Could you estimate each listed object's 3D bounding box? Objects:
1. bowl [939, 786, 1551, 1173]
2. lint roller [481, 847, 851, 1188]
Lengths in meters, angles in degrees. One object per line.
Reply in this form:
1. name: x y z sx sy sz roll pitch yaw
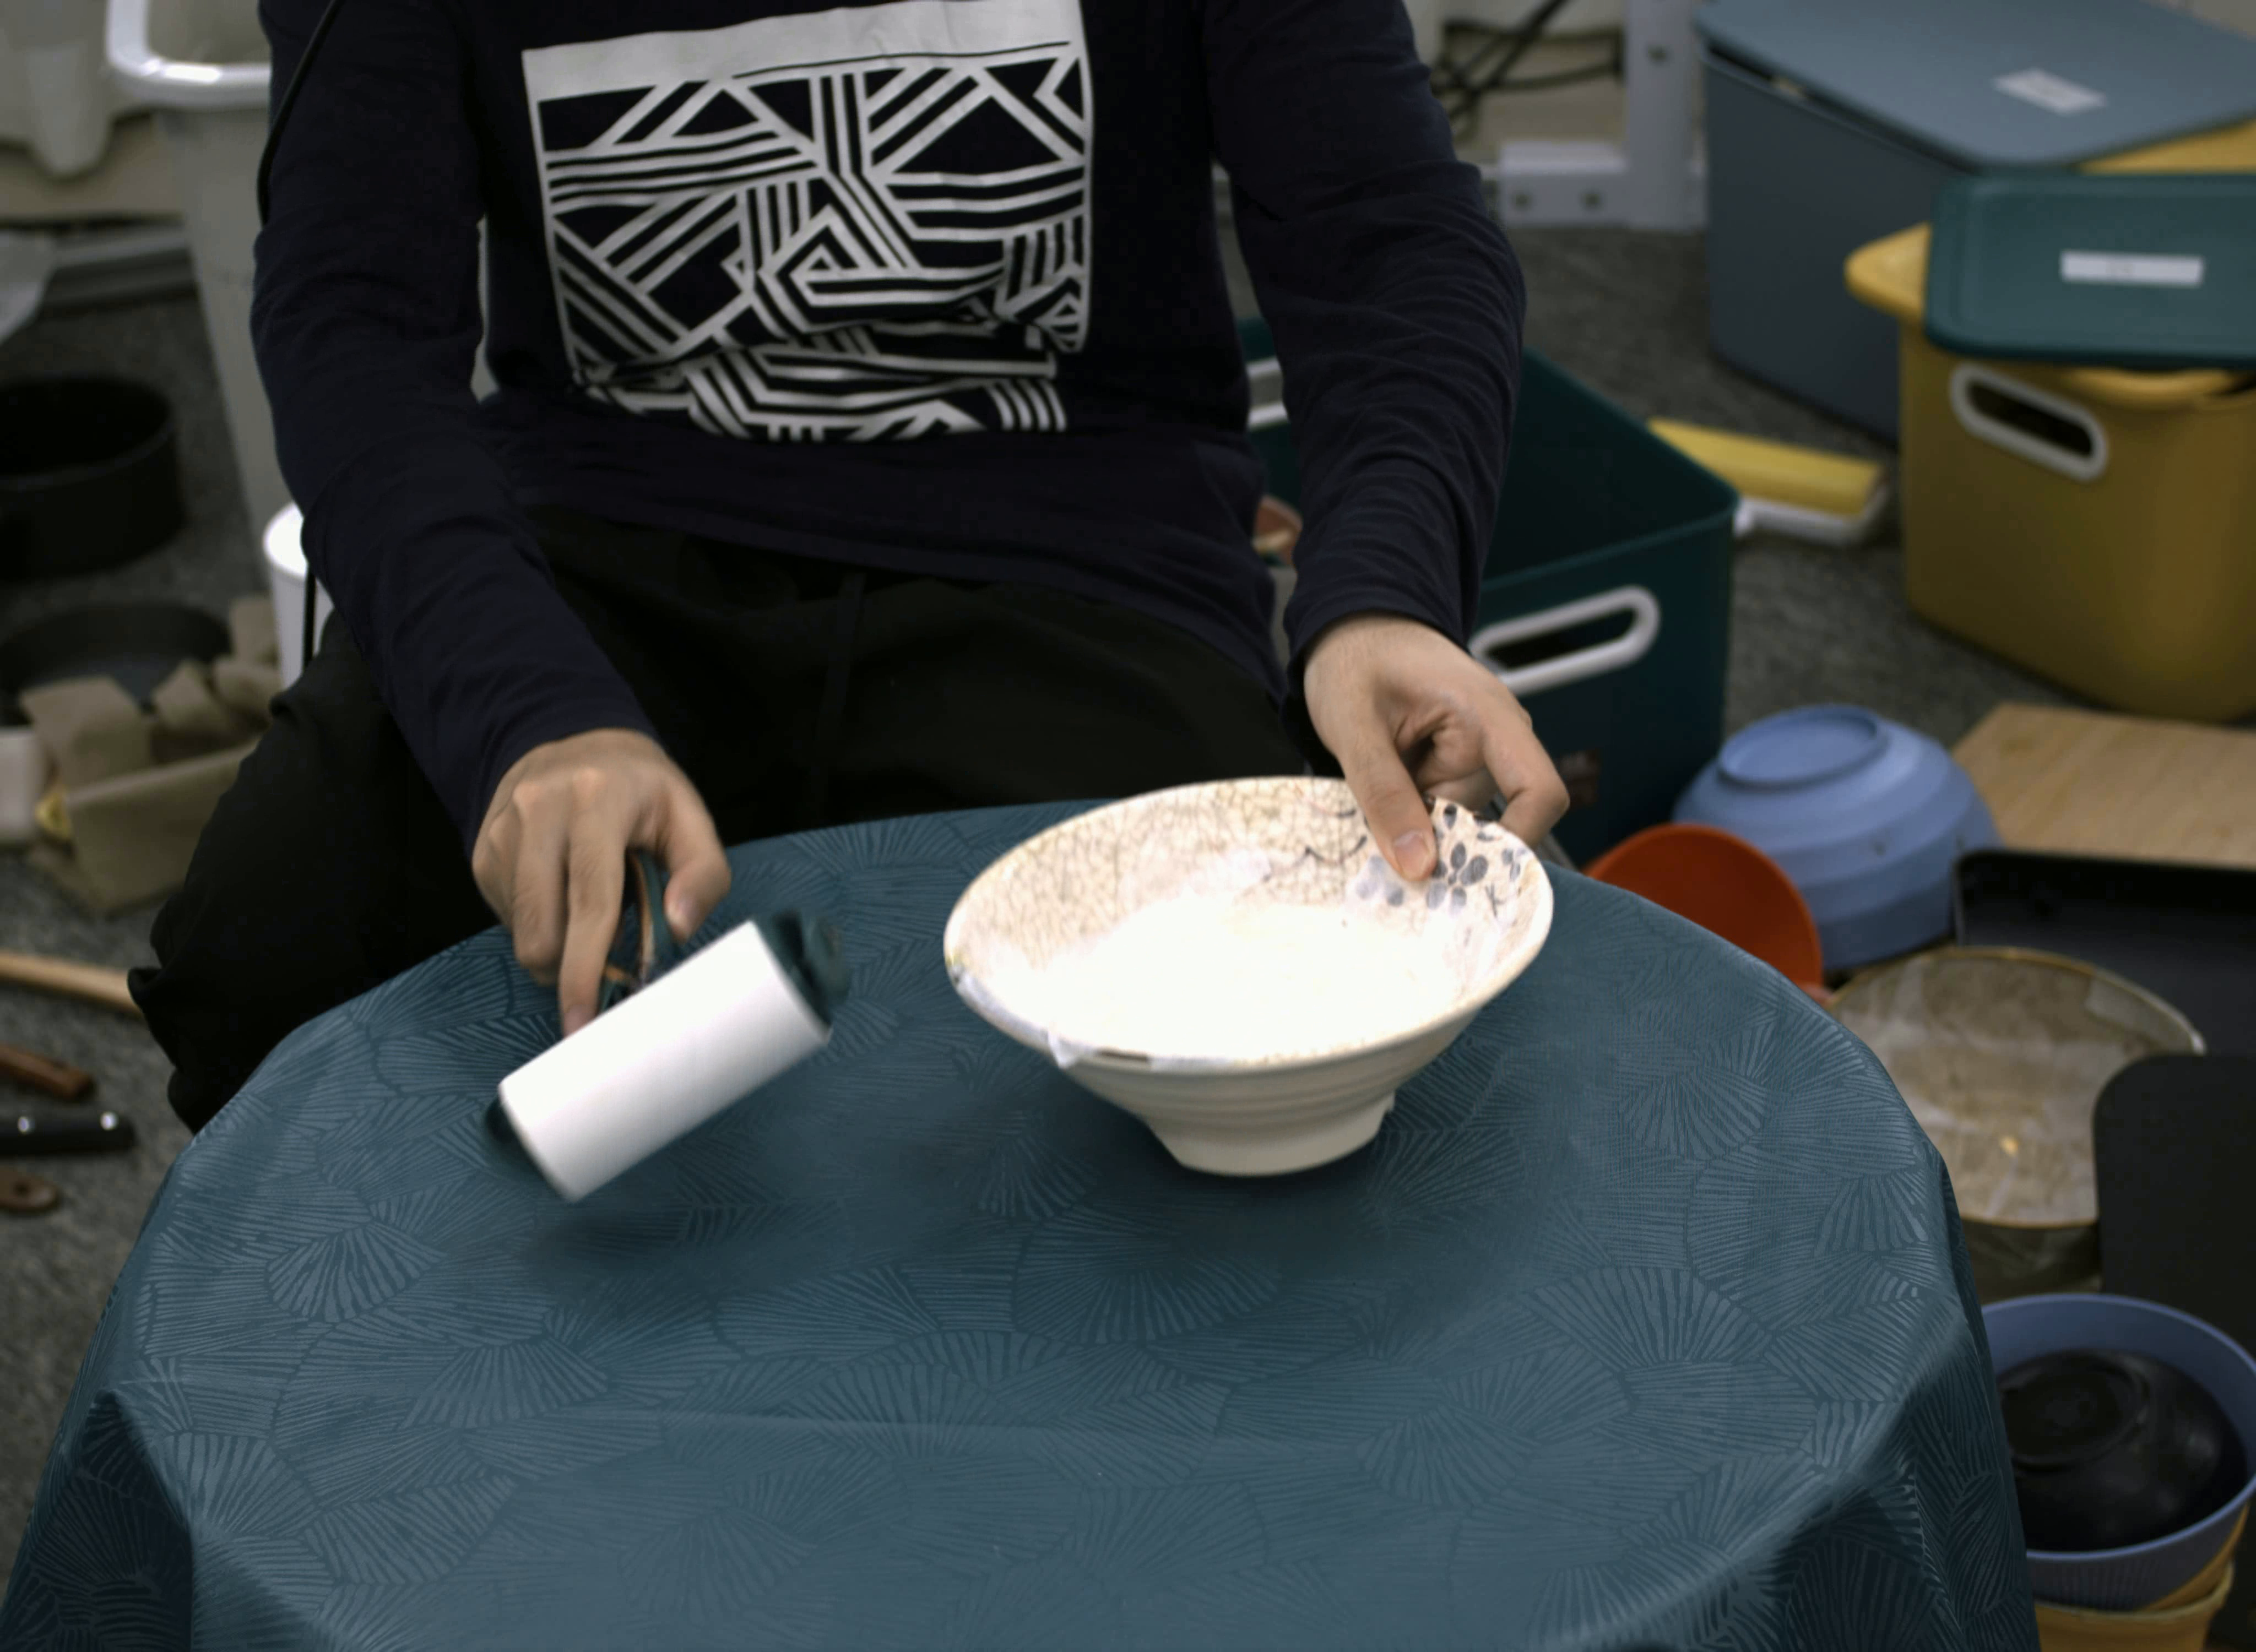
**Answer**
1. bowl: 0.040 0.062 1.873 0.203 0.077 0.207 -3 23 2
2. lint roller: -0.168 0.040 1.883 0.134 0.048 0.182 -34 33 1
